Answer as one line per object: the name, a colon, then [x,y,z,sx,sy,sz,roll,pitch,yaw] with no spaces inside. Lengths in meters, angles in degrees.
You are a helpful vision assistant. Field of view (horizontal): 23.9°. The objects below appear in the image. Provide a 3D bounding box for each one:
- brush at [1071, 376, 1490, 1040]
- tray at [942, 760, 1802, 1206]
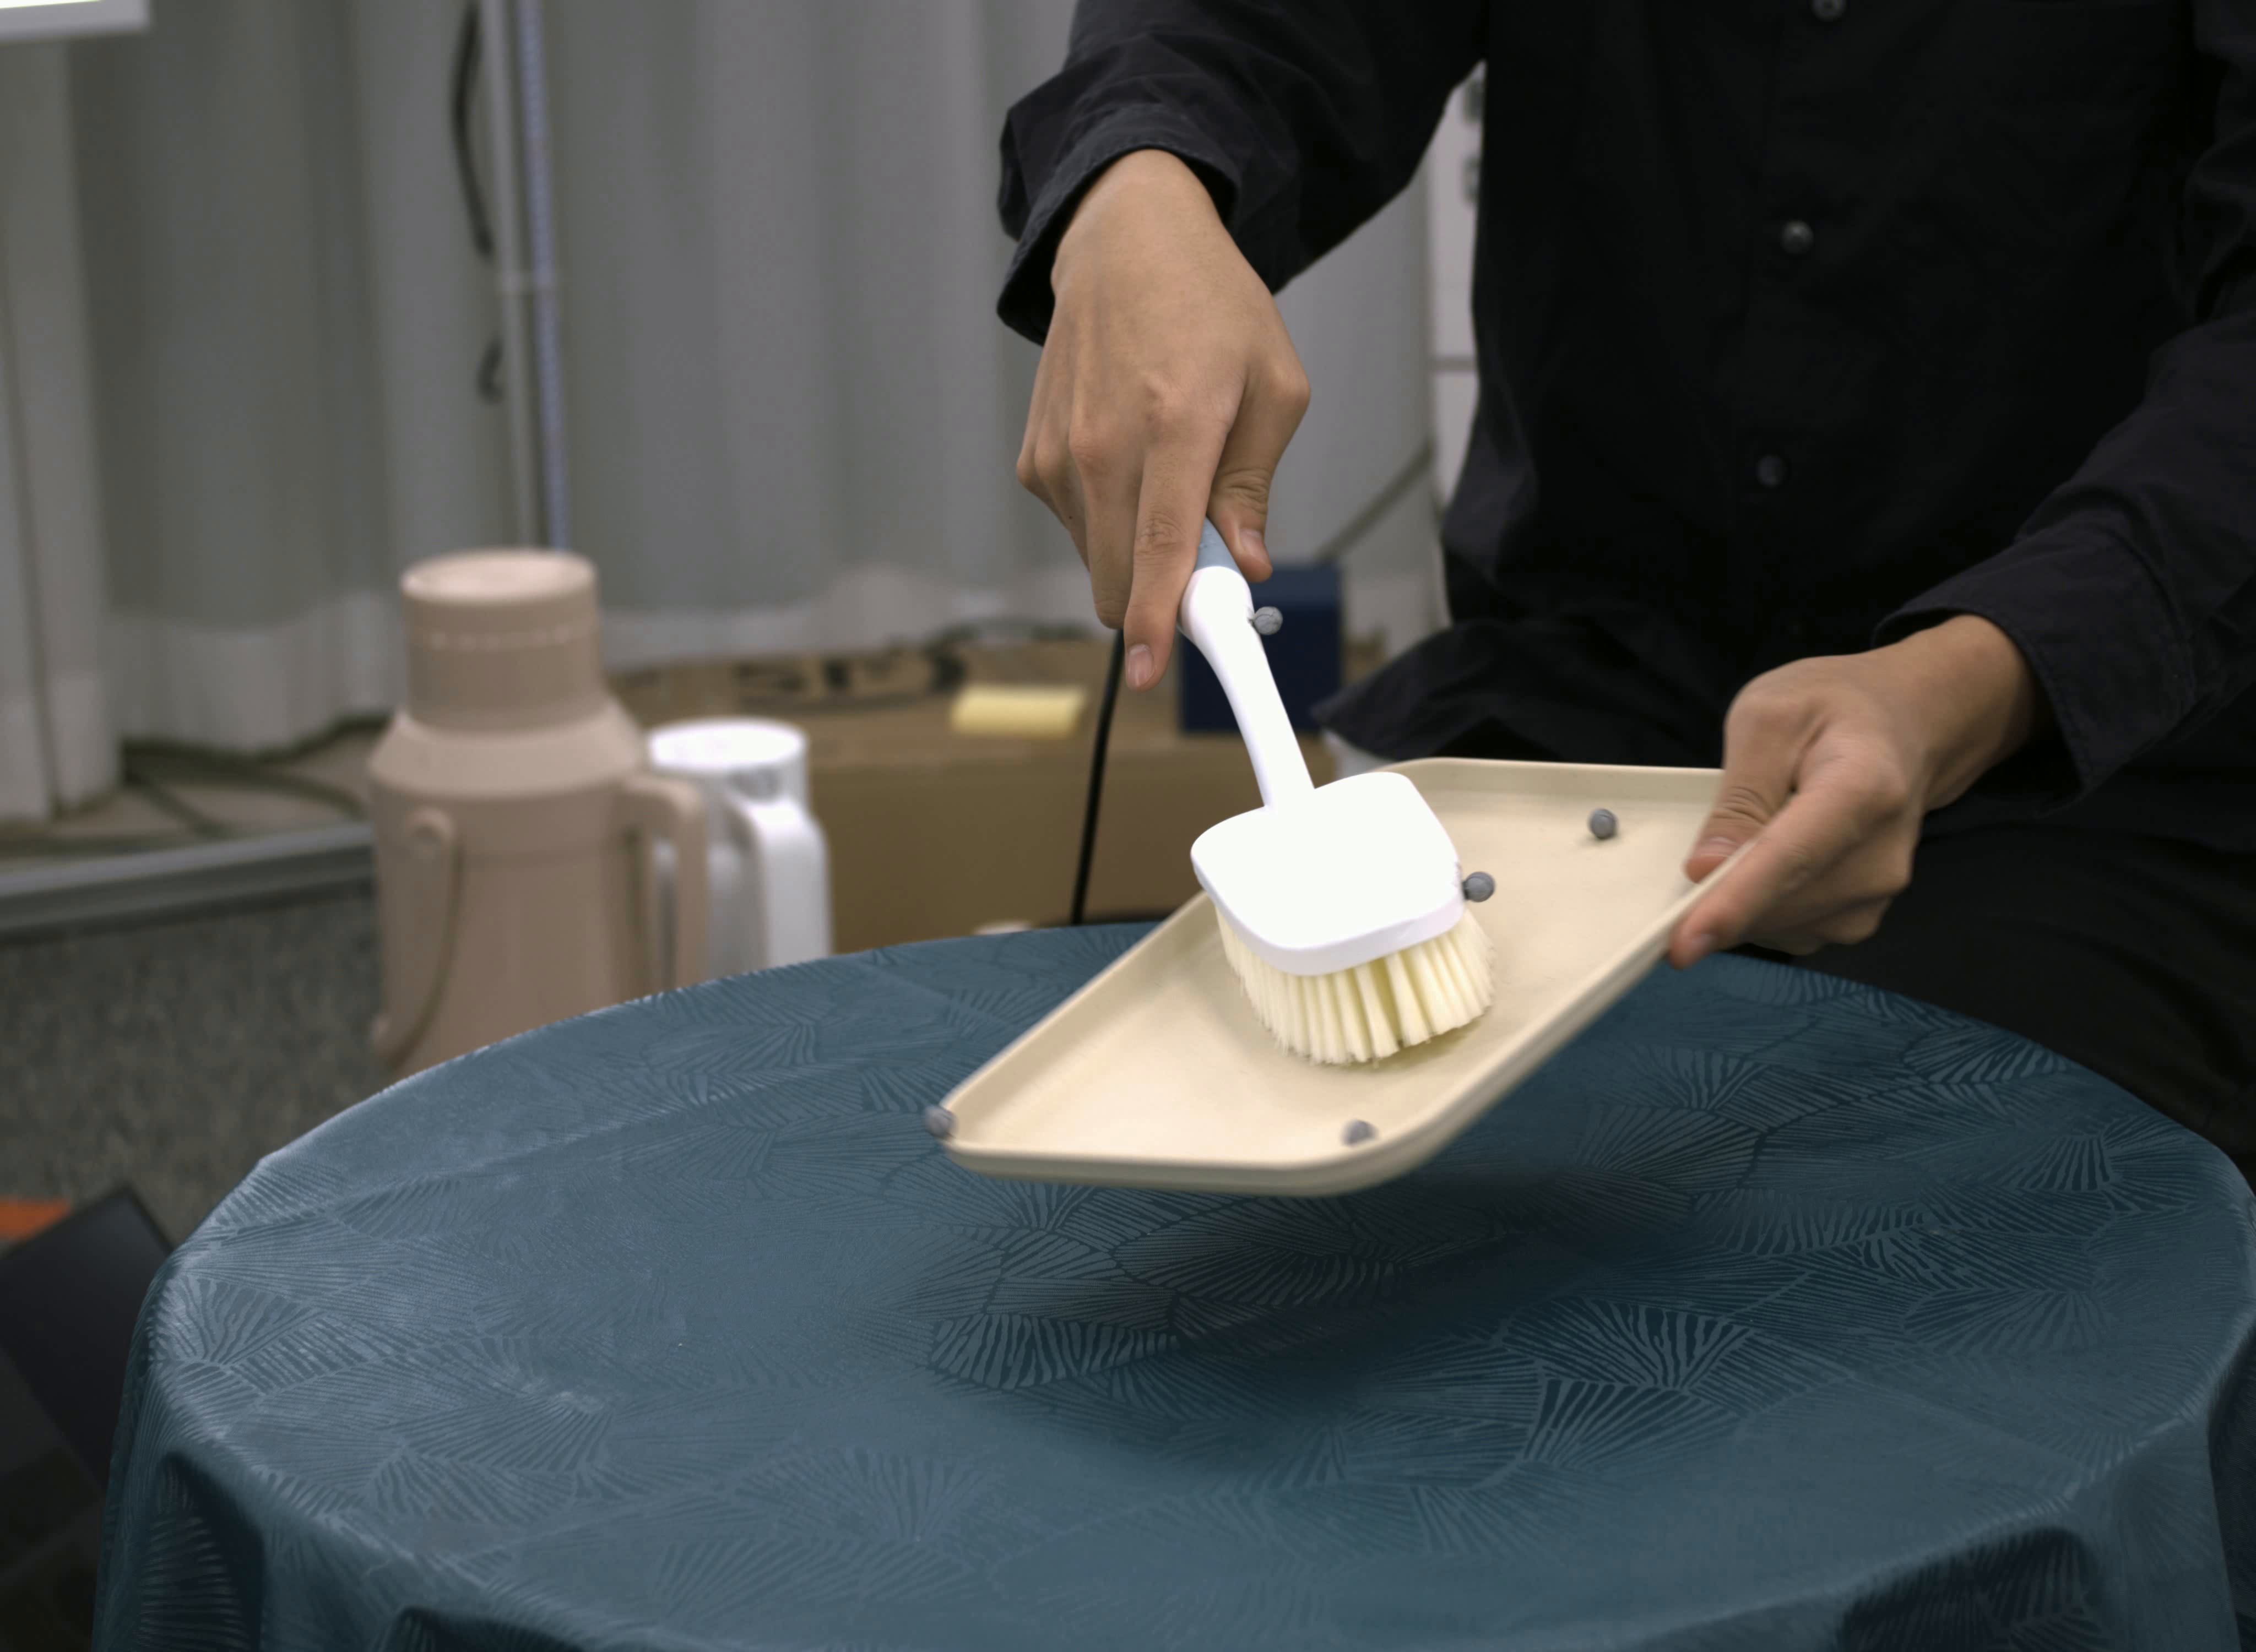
brush: [0.043,-0.028,1.580,0.081,0.085,0.331,13,26,-23]
tray: [0.072,0.042,1.486,0.175,0.017,0.236,1,28,41]
